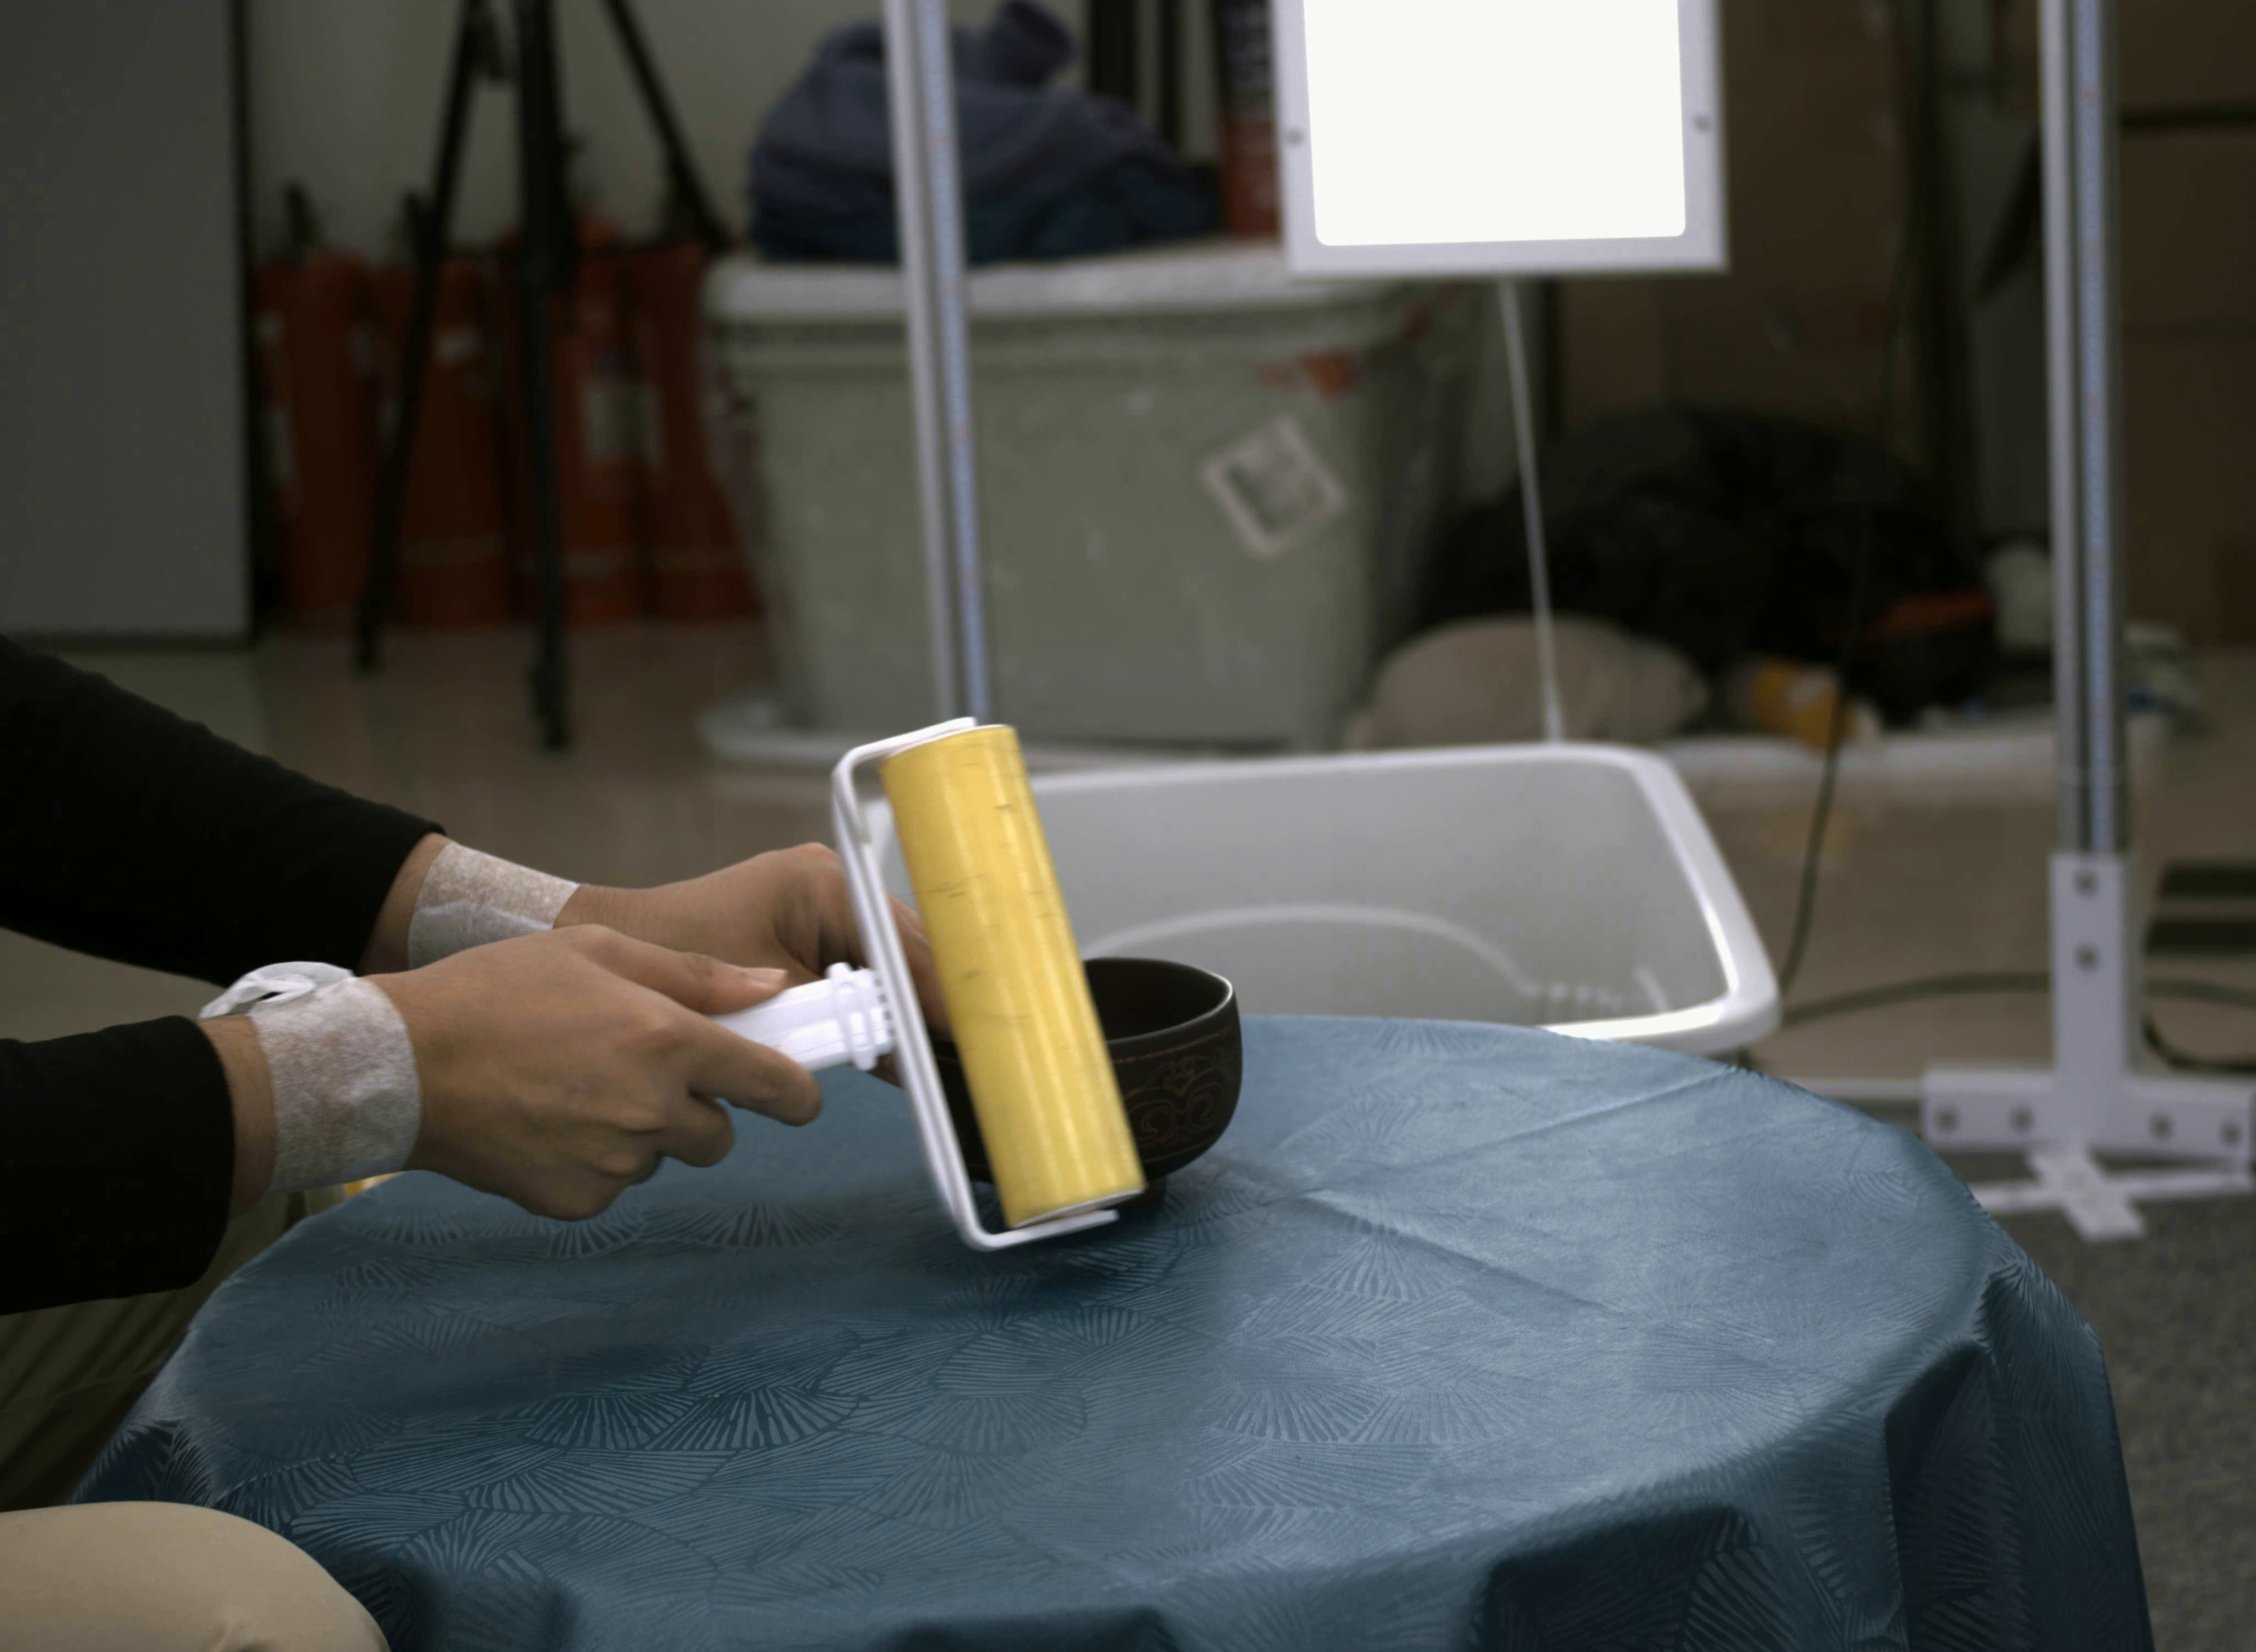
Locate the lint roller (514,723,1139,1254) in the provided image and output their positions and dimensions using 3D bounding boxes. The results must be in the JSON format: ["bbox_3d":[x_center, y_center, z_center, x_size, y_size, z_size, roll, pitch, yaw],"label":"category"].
[{"bbox_3d":[-0.105,0.068,1.790,0.188,0.175,0.052,-14,-8,-25],"label":"lint roller"}]

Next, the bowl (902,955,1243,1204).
[{"bbox_3d":[-0.018,0.091,1.894,0.118,0.070,0.118,-5,12,0],"label":"bowl"}]
